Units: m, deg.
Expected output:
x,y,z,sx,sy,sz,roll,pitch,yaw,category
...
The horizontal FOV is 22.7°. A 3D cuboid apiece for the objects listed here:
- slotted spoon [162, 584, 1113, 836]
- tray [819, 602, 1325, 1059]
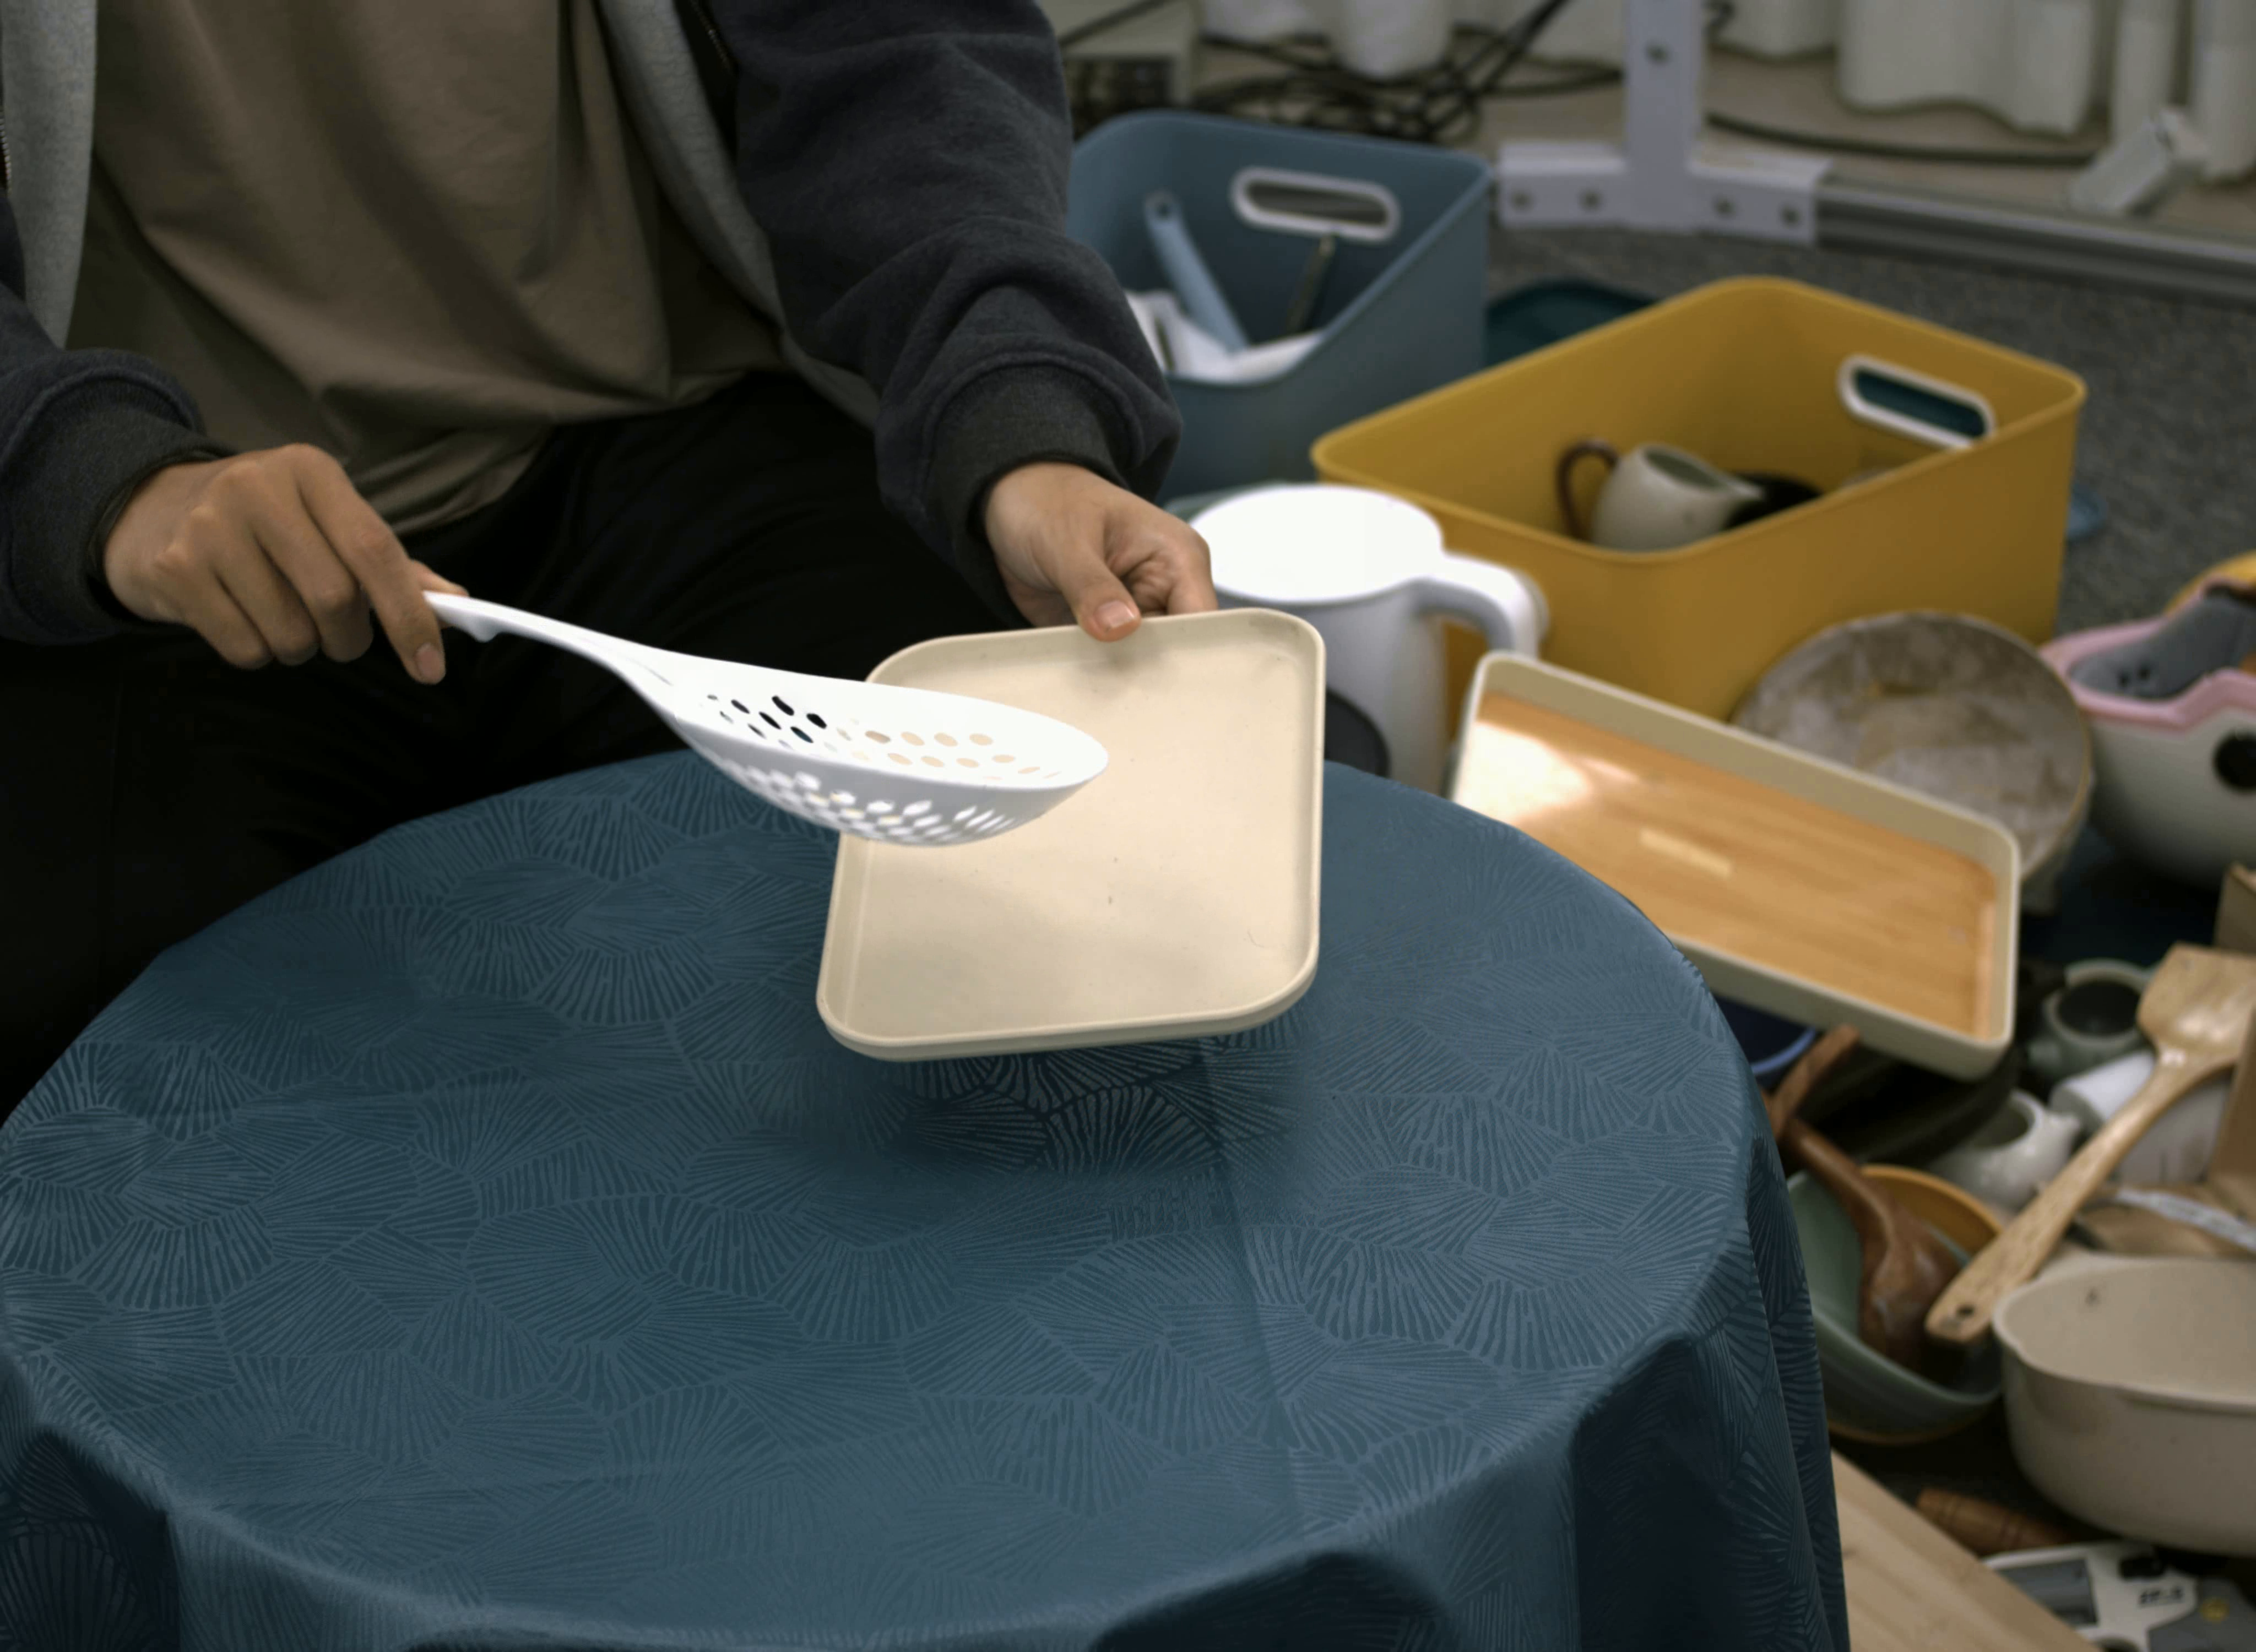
x,y,z,sx,sy,sz,roll,pitch,yaw,category
-0.171,-0.051,1.884,0.346,0.050,0.138,19,13,22,slotted spoon
-0.016,0.001,1.943,0.170,0.017,0.244,-6,35,7,tray
